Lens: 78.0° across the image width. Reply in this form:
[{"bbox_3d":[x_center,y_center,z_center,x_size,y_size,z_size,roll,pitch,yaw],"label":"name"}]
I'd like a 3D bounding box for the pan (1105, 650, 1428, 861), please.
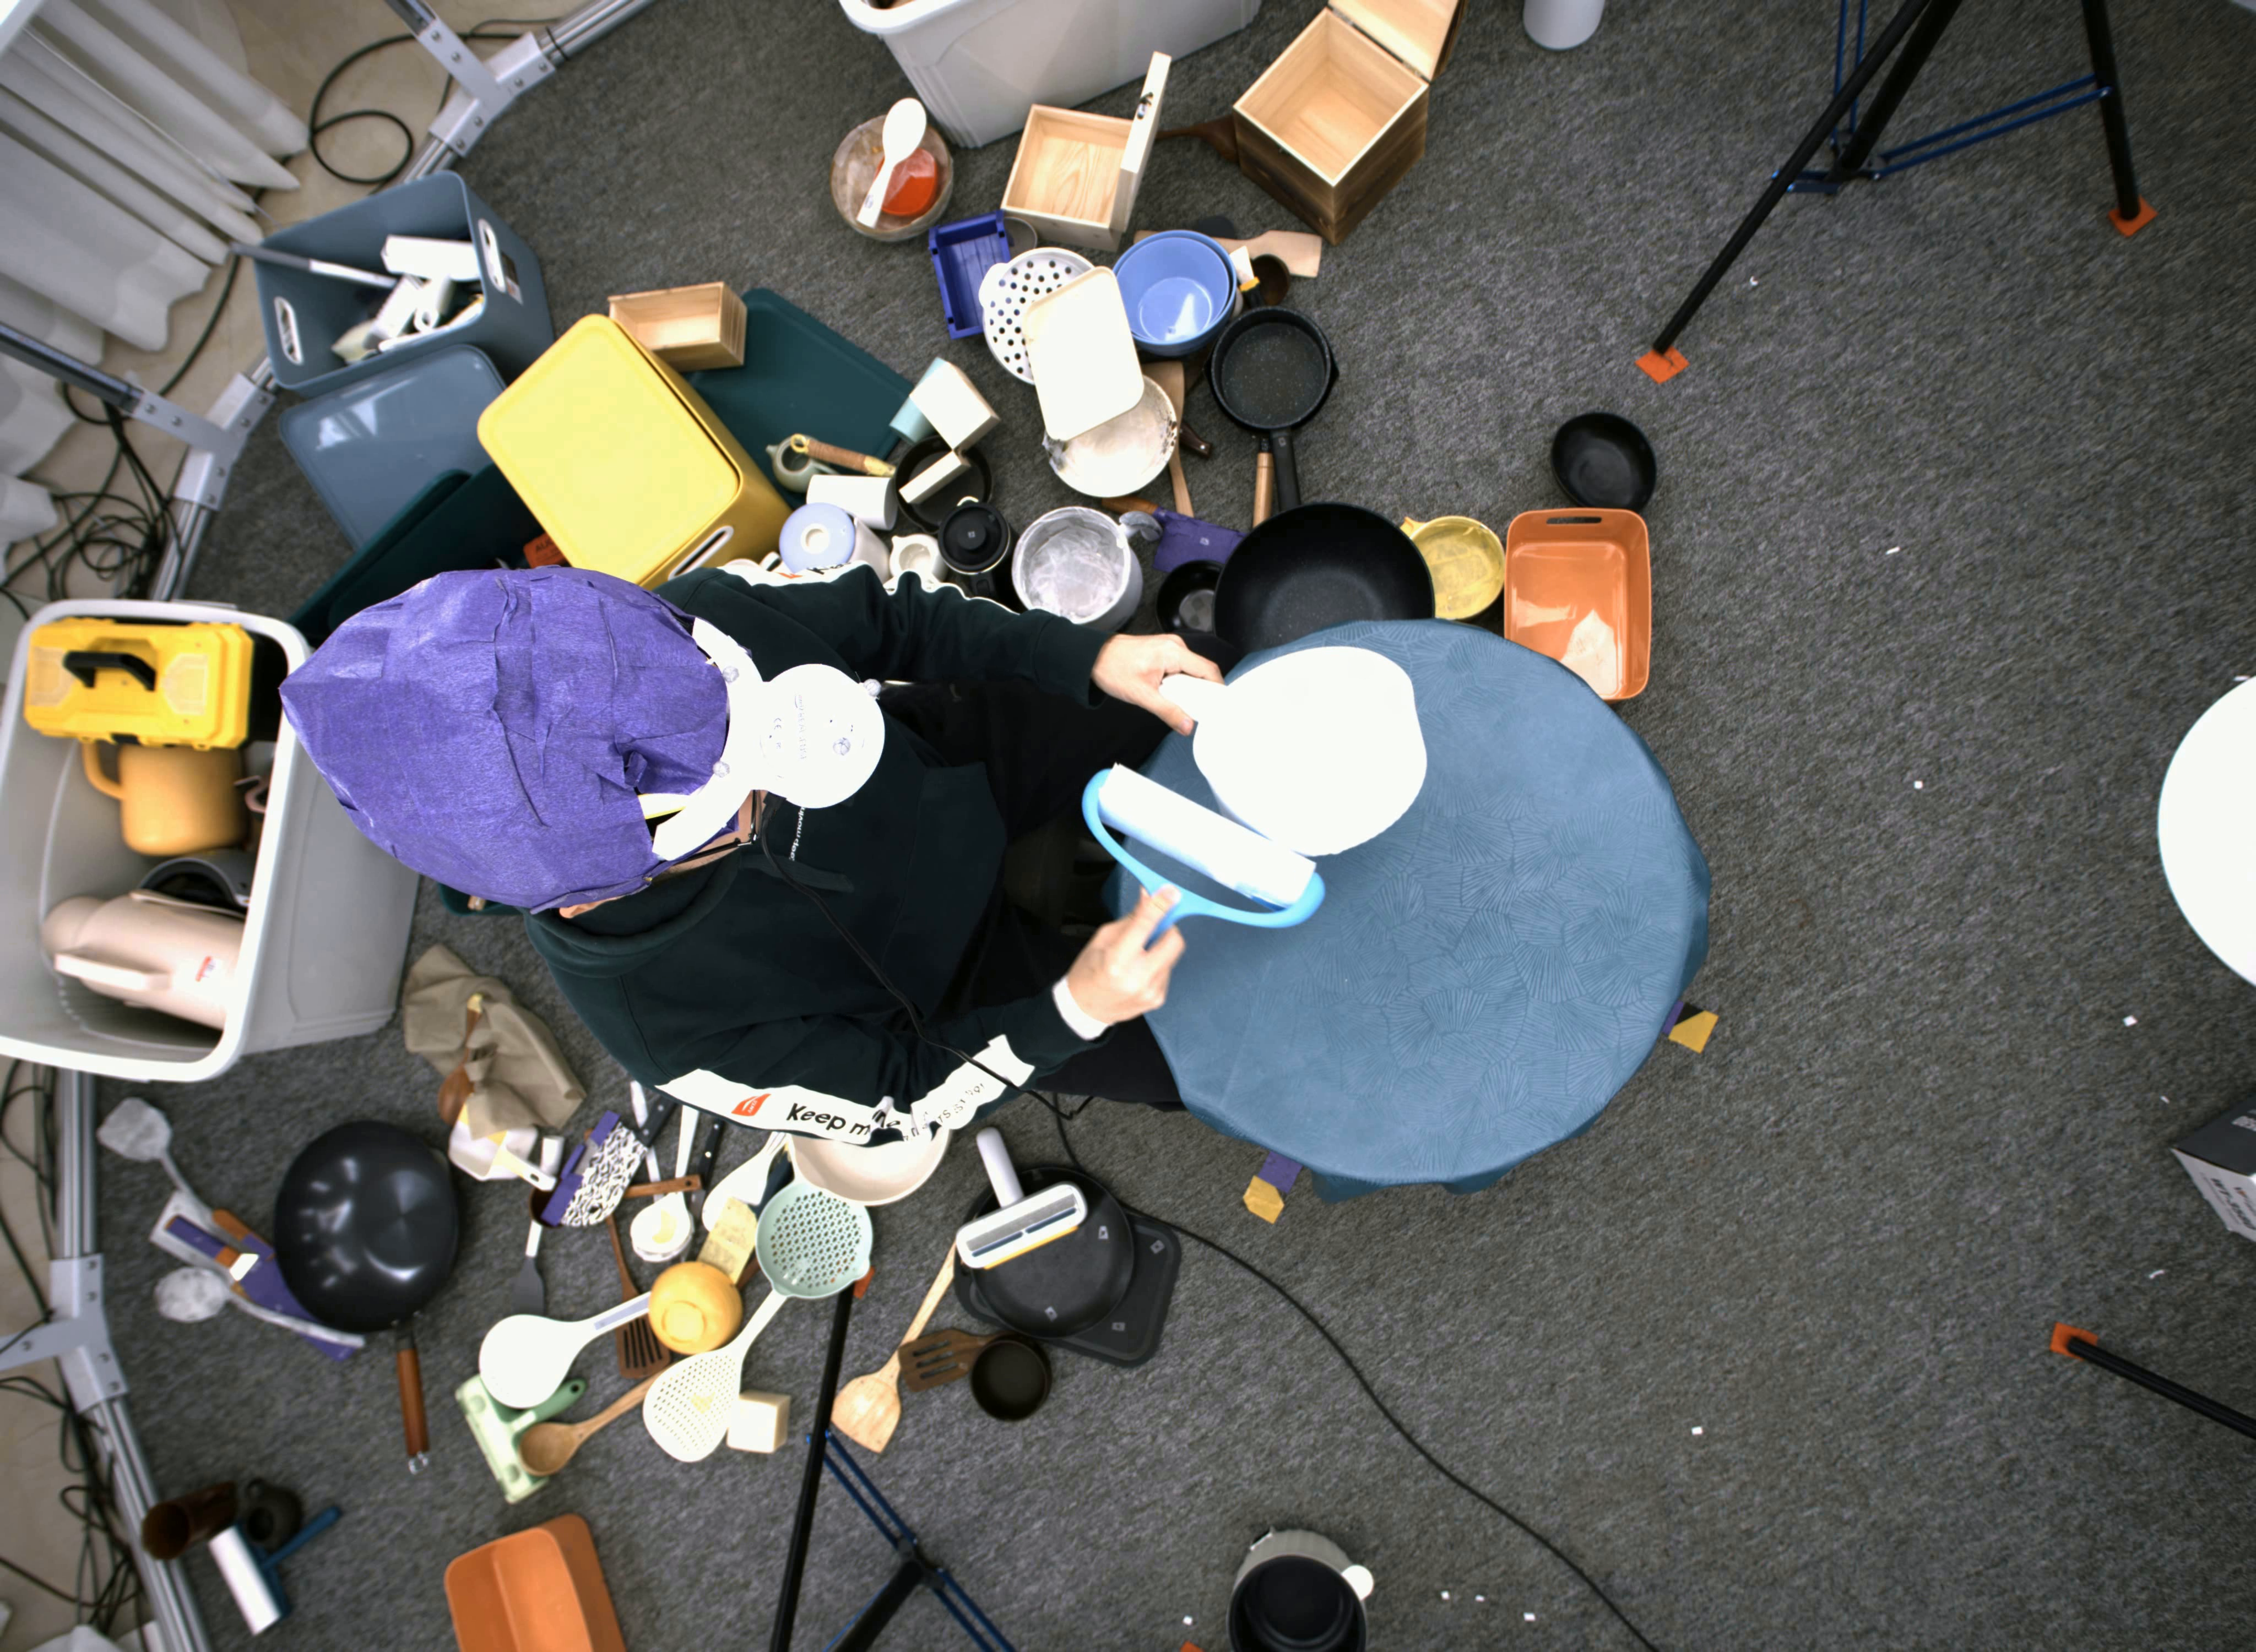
[{"bbox_3d":[0.118,-0.078,1.295,0.354,0.104,0.198,21,59,45],"label":"pan"}]

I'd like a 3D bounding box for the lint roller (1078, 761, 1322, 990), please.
[{"bbox_3d":[0.038,0.062,1.206,0.229,0.068,0.180,25,92,9],"label":"lint roller"}]
